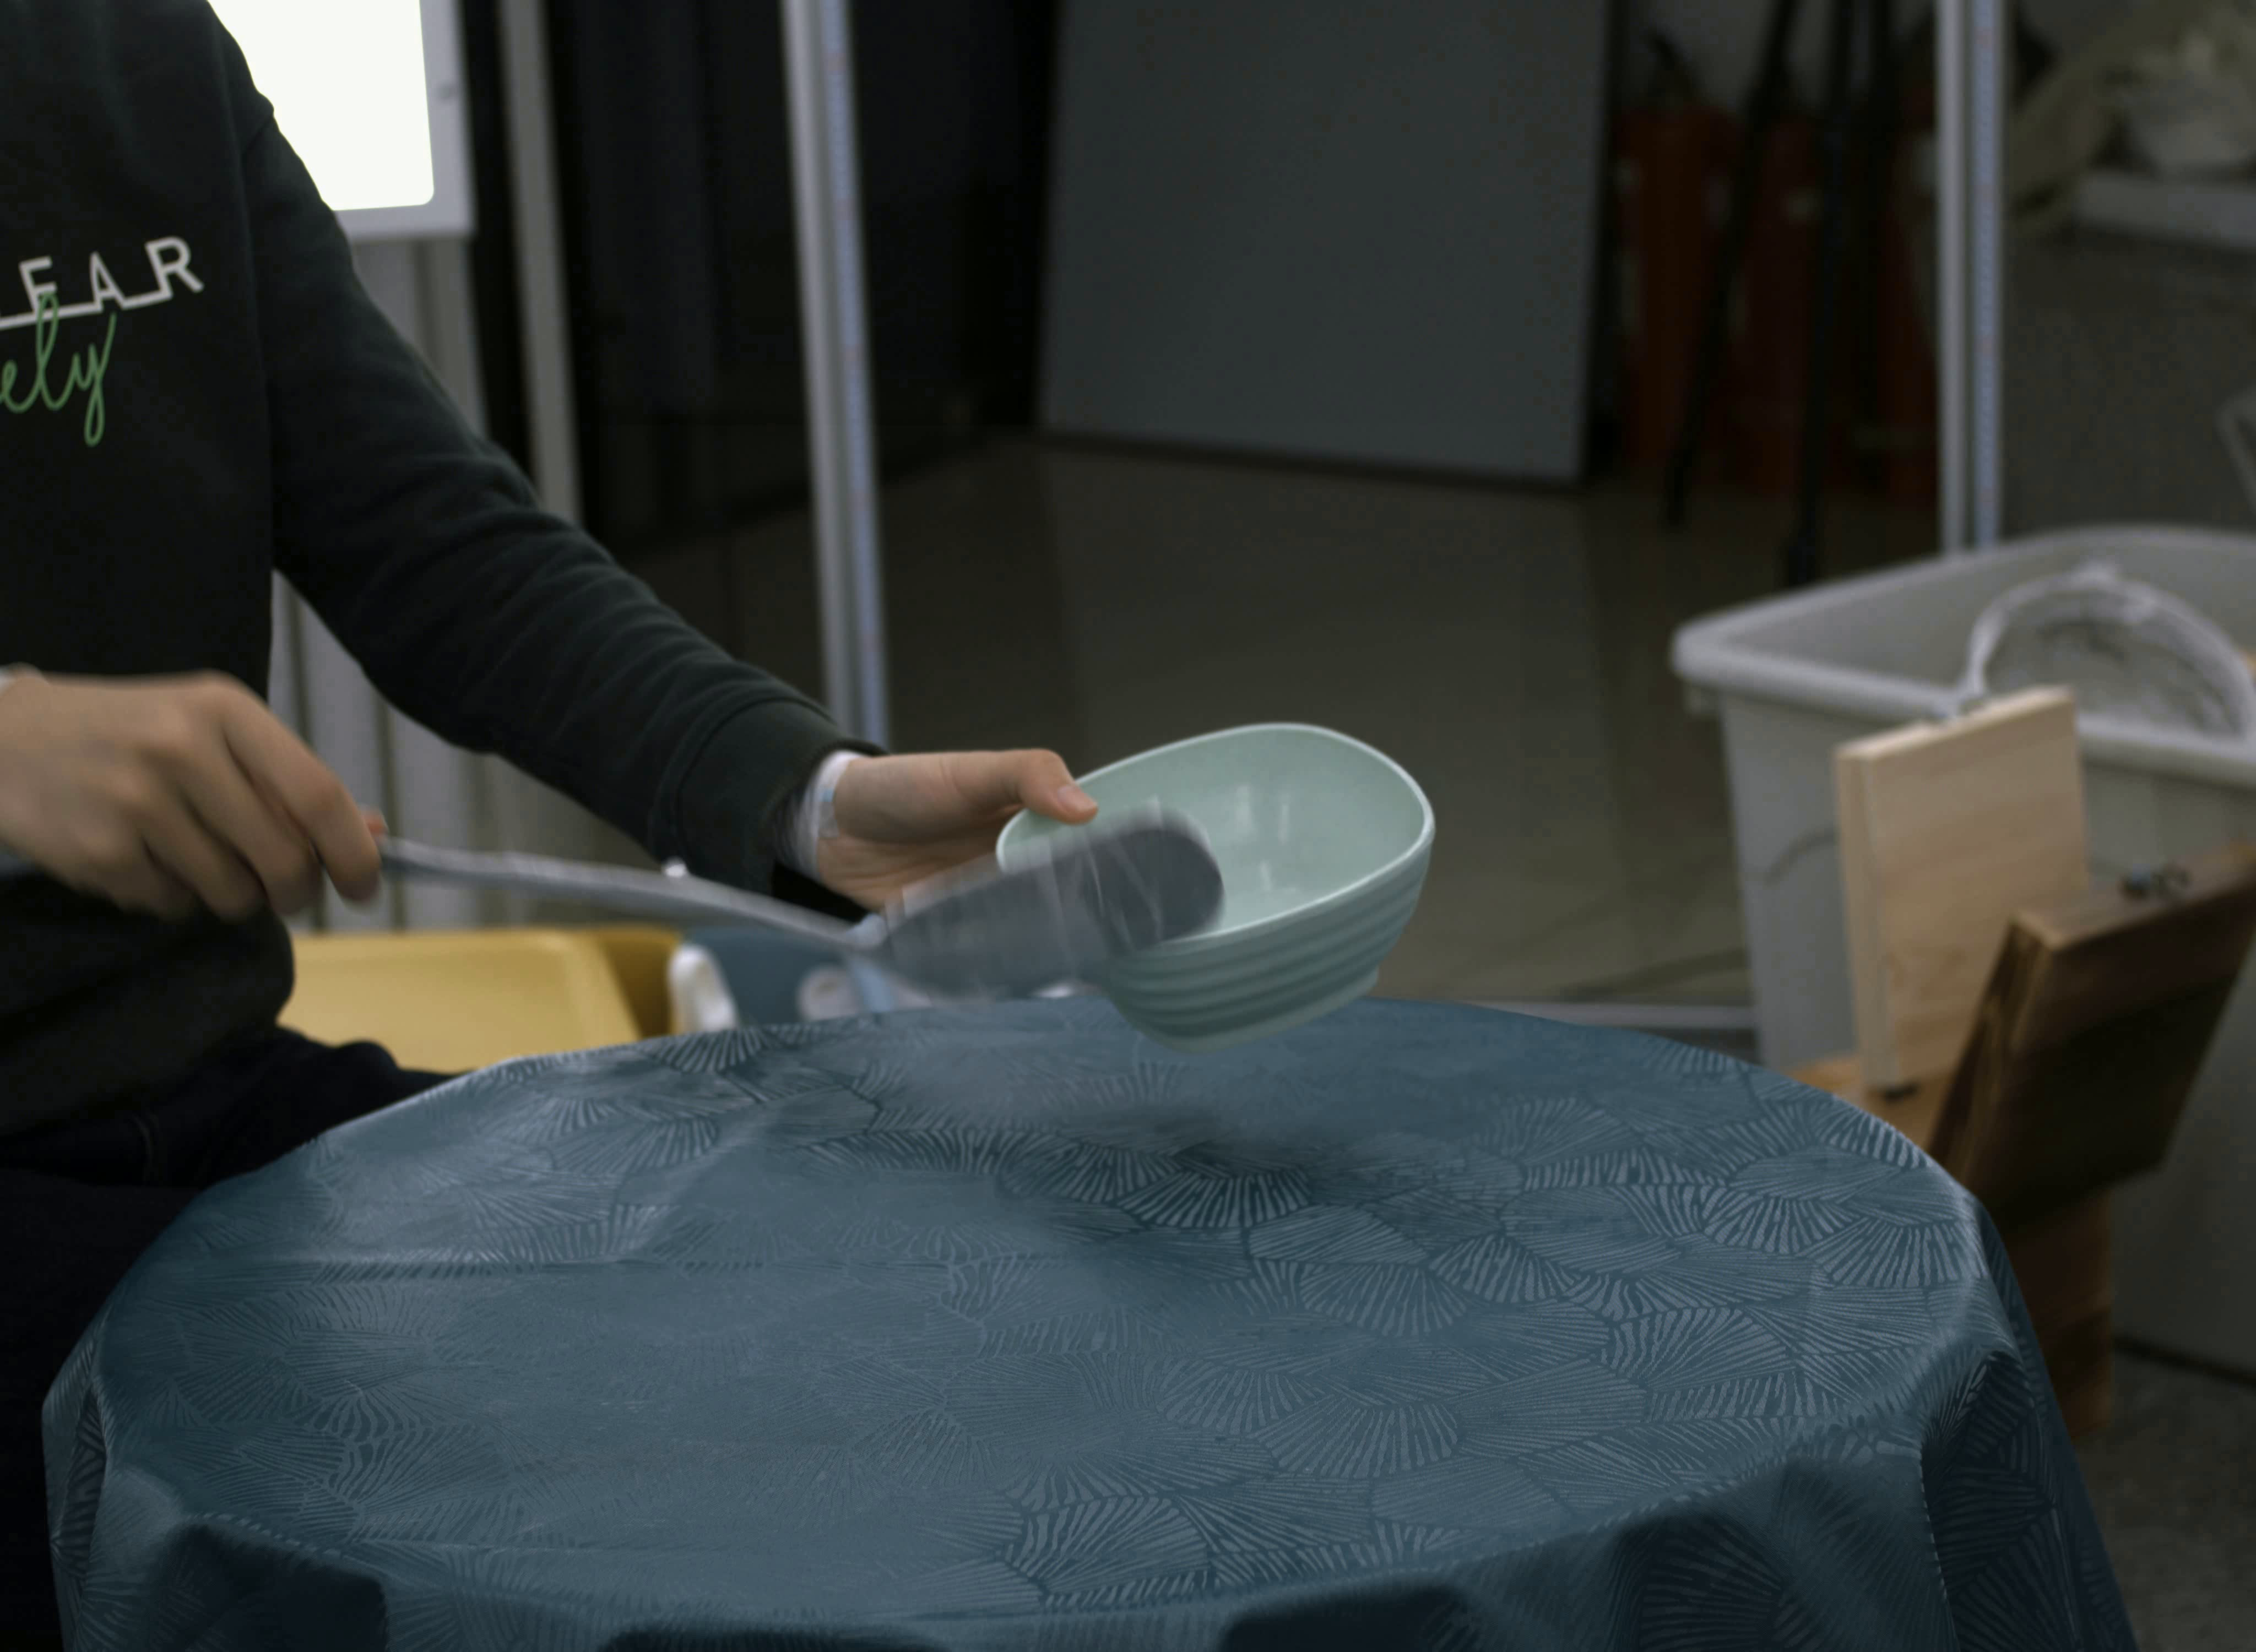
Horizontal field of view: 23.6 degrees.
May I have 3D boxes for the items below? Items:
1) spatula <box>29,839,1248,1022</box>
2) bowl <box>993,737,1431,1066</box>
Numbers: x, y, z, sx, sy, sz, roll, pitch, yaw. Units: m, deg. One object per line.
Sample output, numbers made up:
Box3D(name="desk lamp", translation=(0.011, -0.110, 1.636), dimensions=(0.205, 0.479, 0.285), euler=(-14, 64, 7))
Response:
Box3D(name="spatula", translation=(-0.146, 0.022, 1.558), dimensions=(0.363, 0.045, 0.098), euler=(6, -19, 13))
Box3D(name="bowl", translation=(0.030, 0.030, 1.781), dimensions=(0.150, 0.059, 0.152), euler=(-8, 26, 3))
